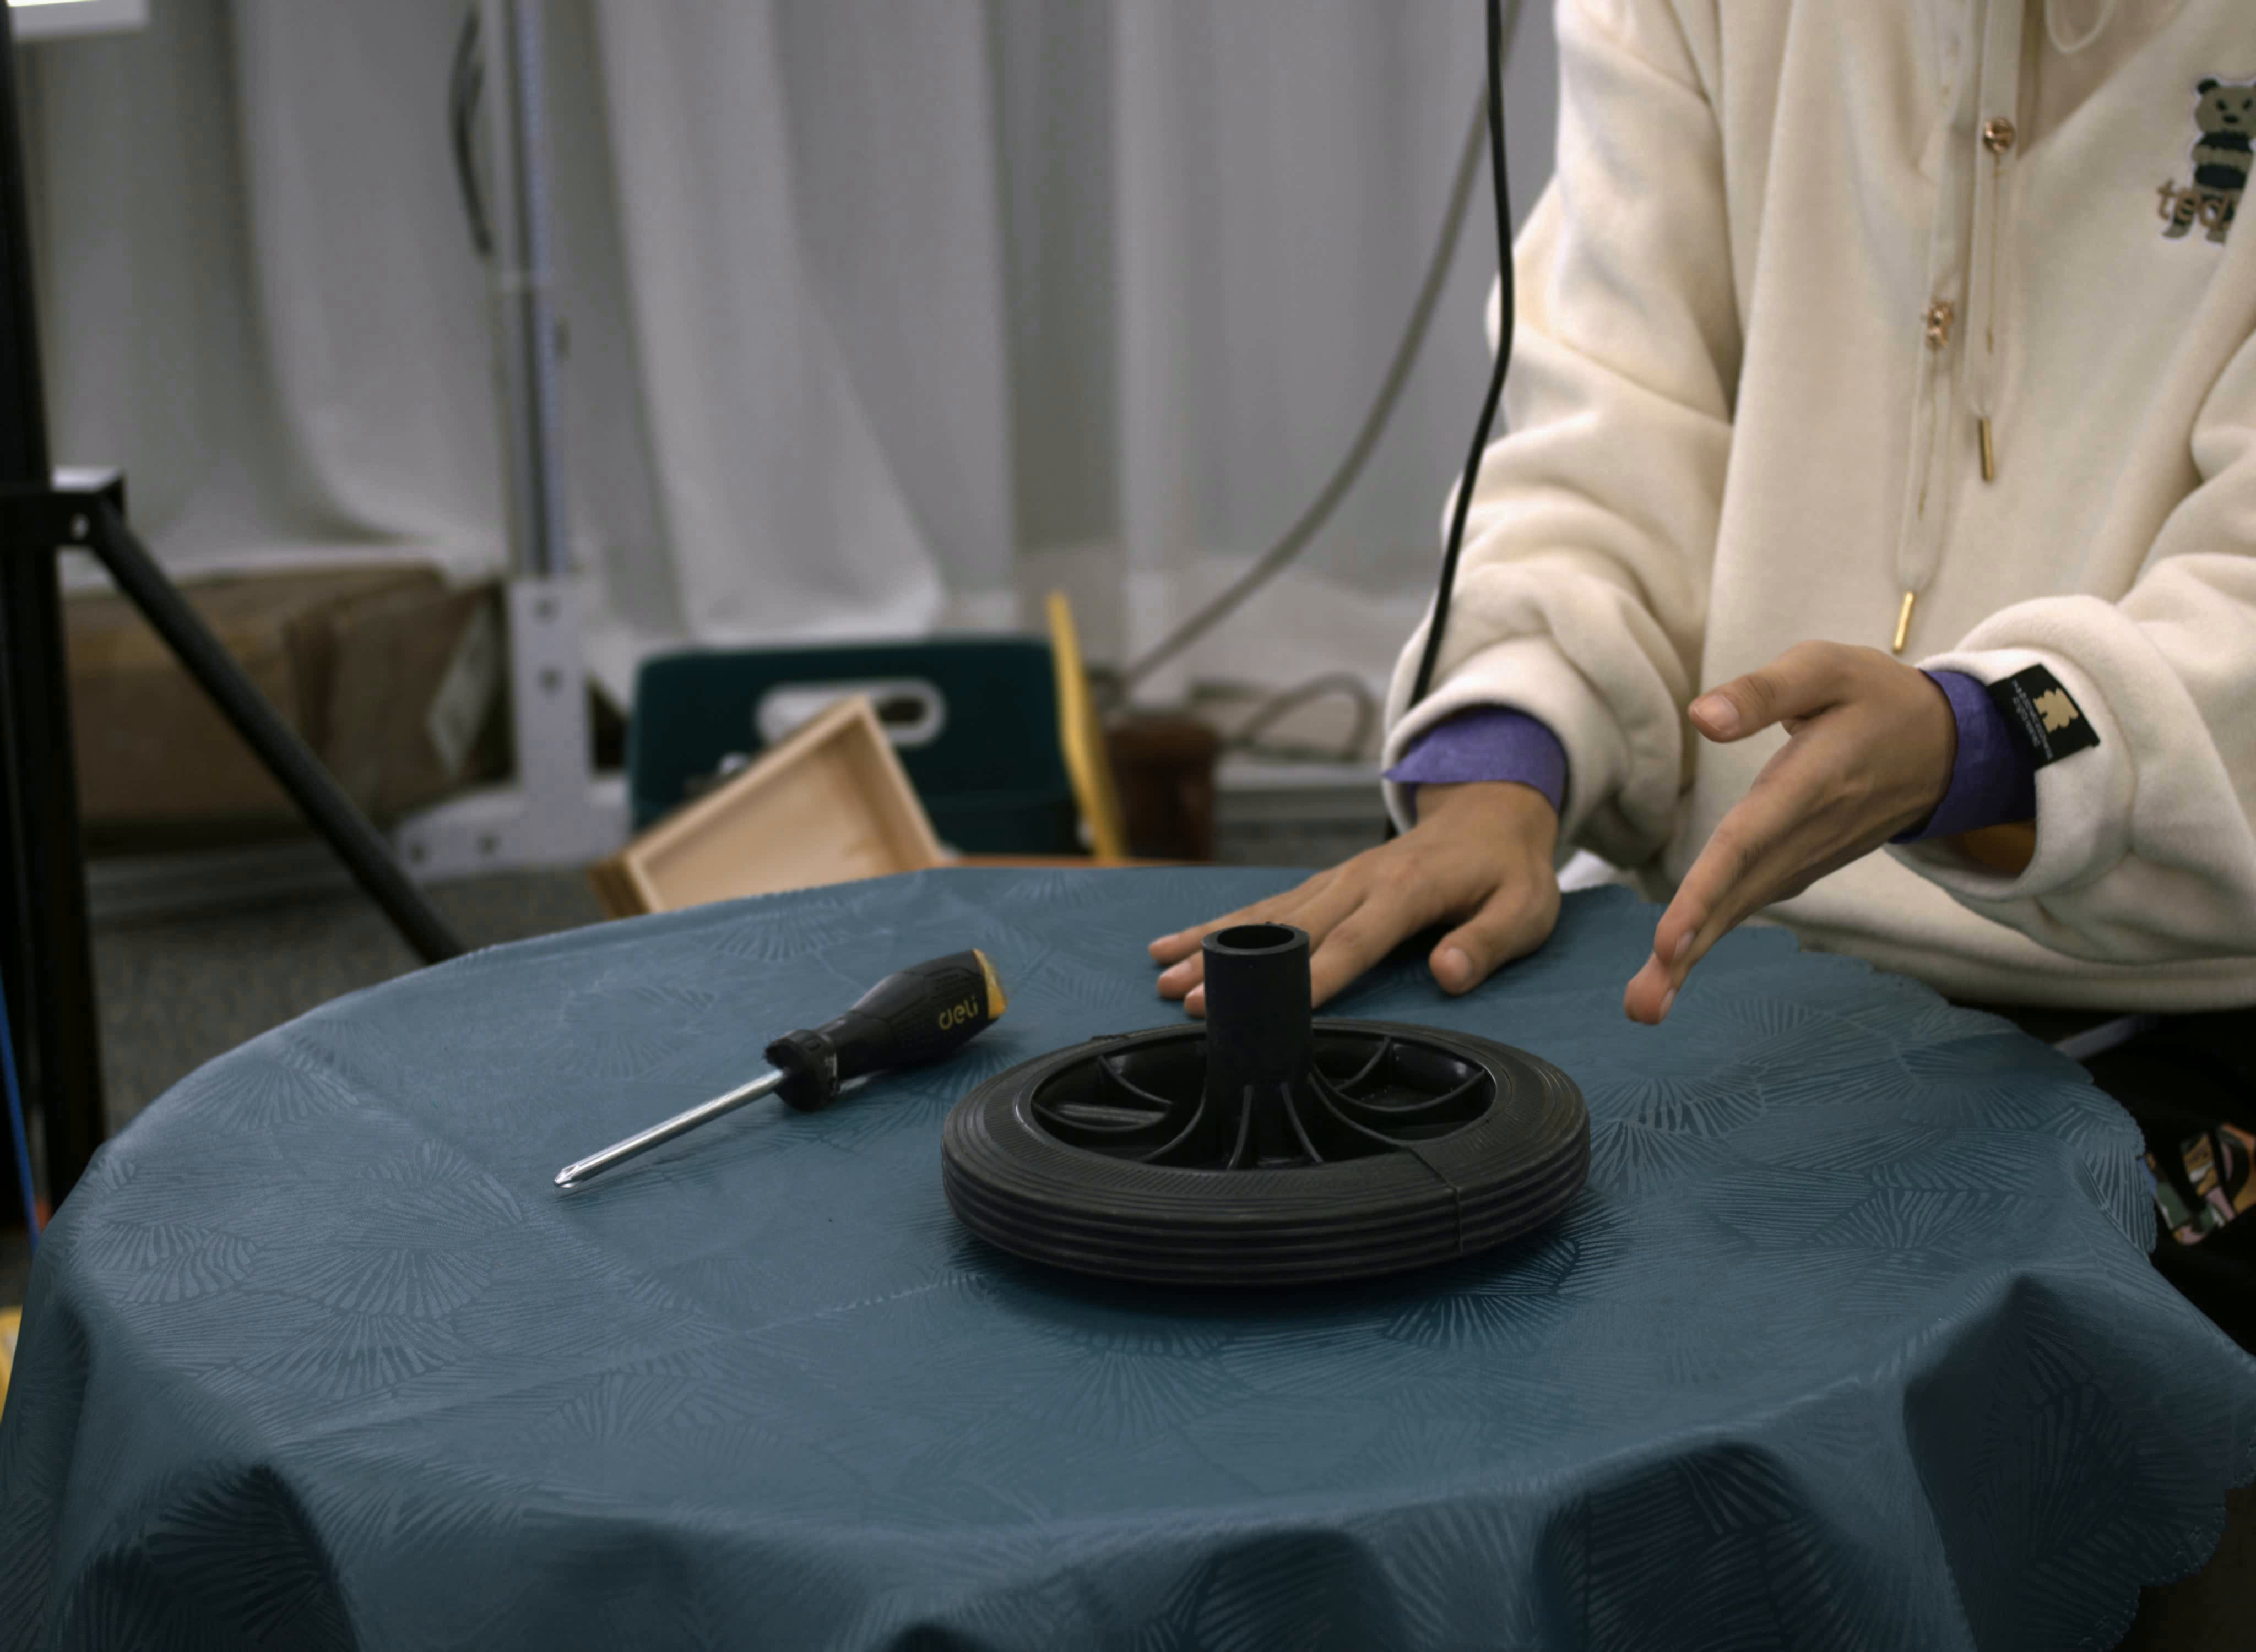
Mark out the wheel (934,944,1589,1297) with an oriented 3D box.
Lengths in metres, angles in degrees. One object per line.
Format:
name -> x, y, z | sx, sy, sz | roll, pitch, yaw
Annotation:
wheel -> 0.037, 0.076, 1.529 | 0.189, 0.079, 0.187 | -3, 15, 4

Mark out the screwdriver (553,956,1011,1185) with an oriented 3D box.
screwdriver -> -0.103, 0.077, 1.639 | 0.032, 0.031, 0.192 | 10, 22, 37
